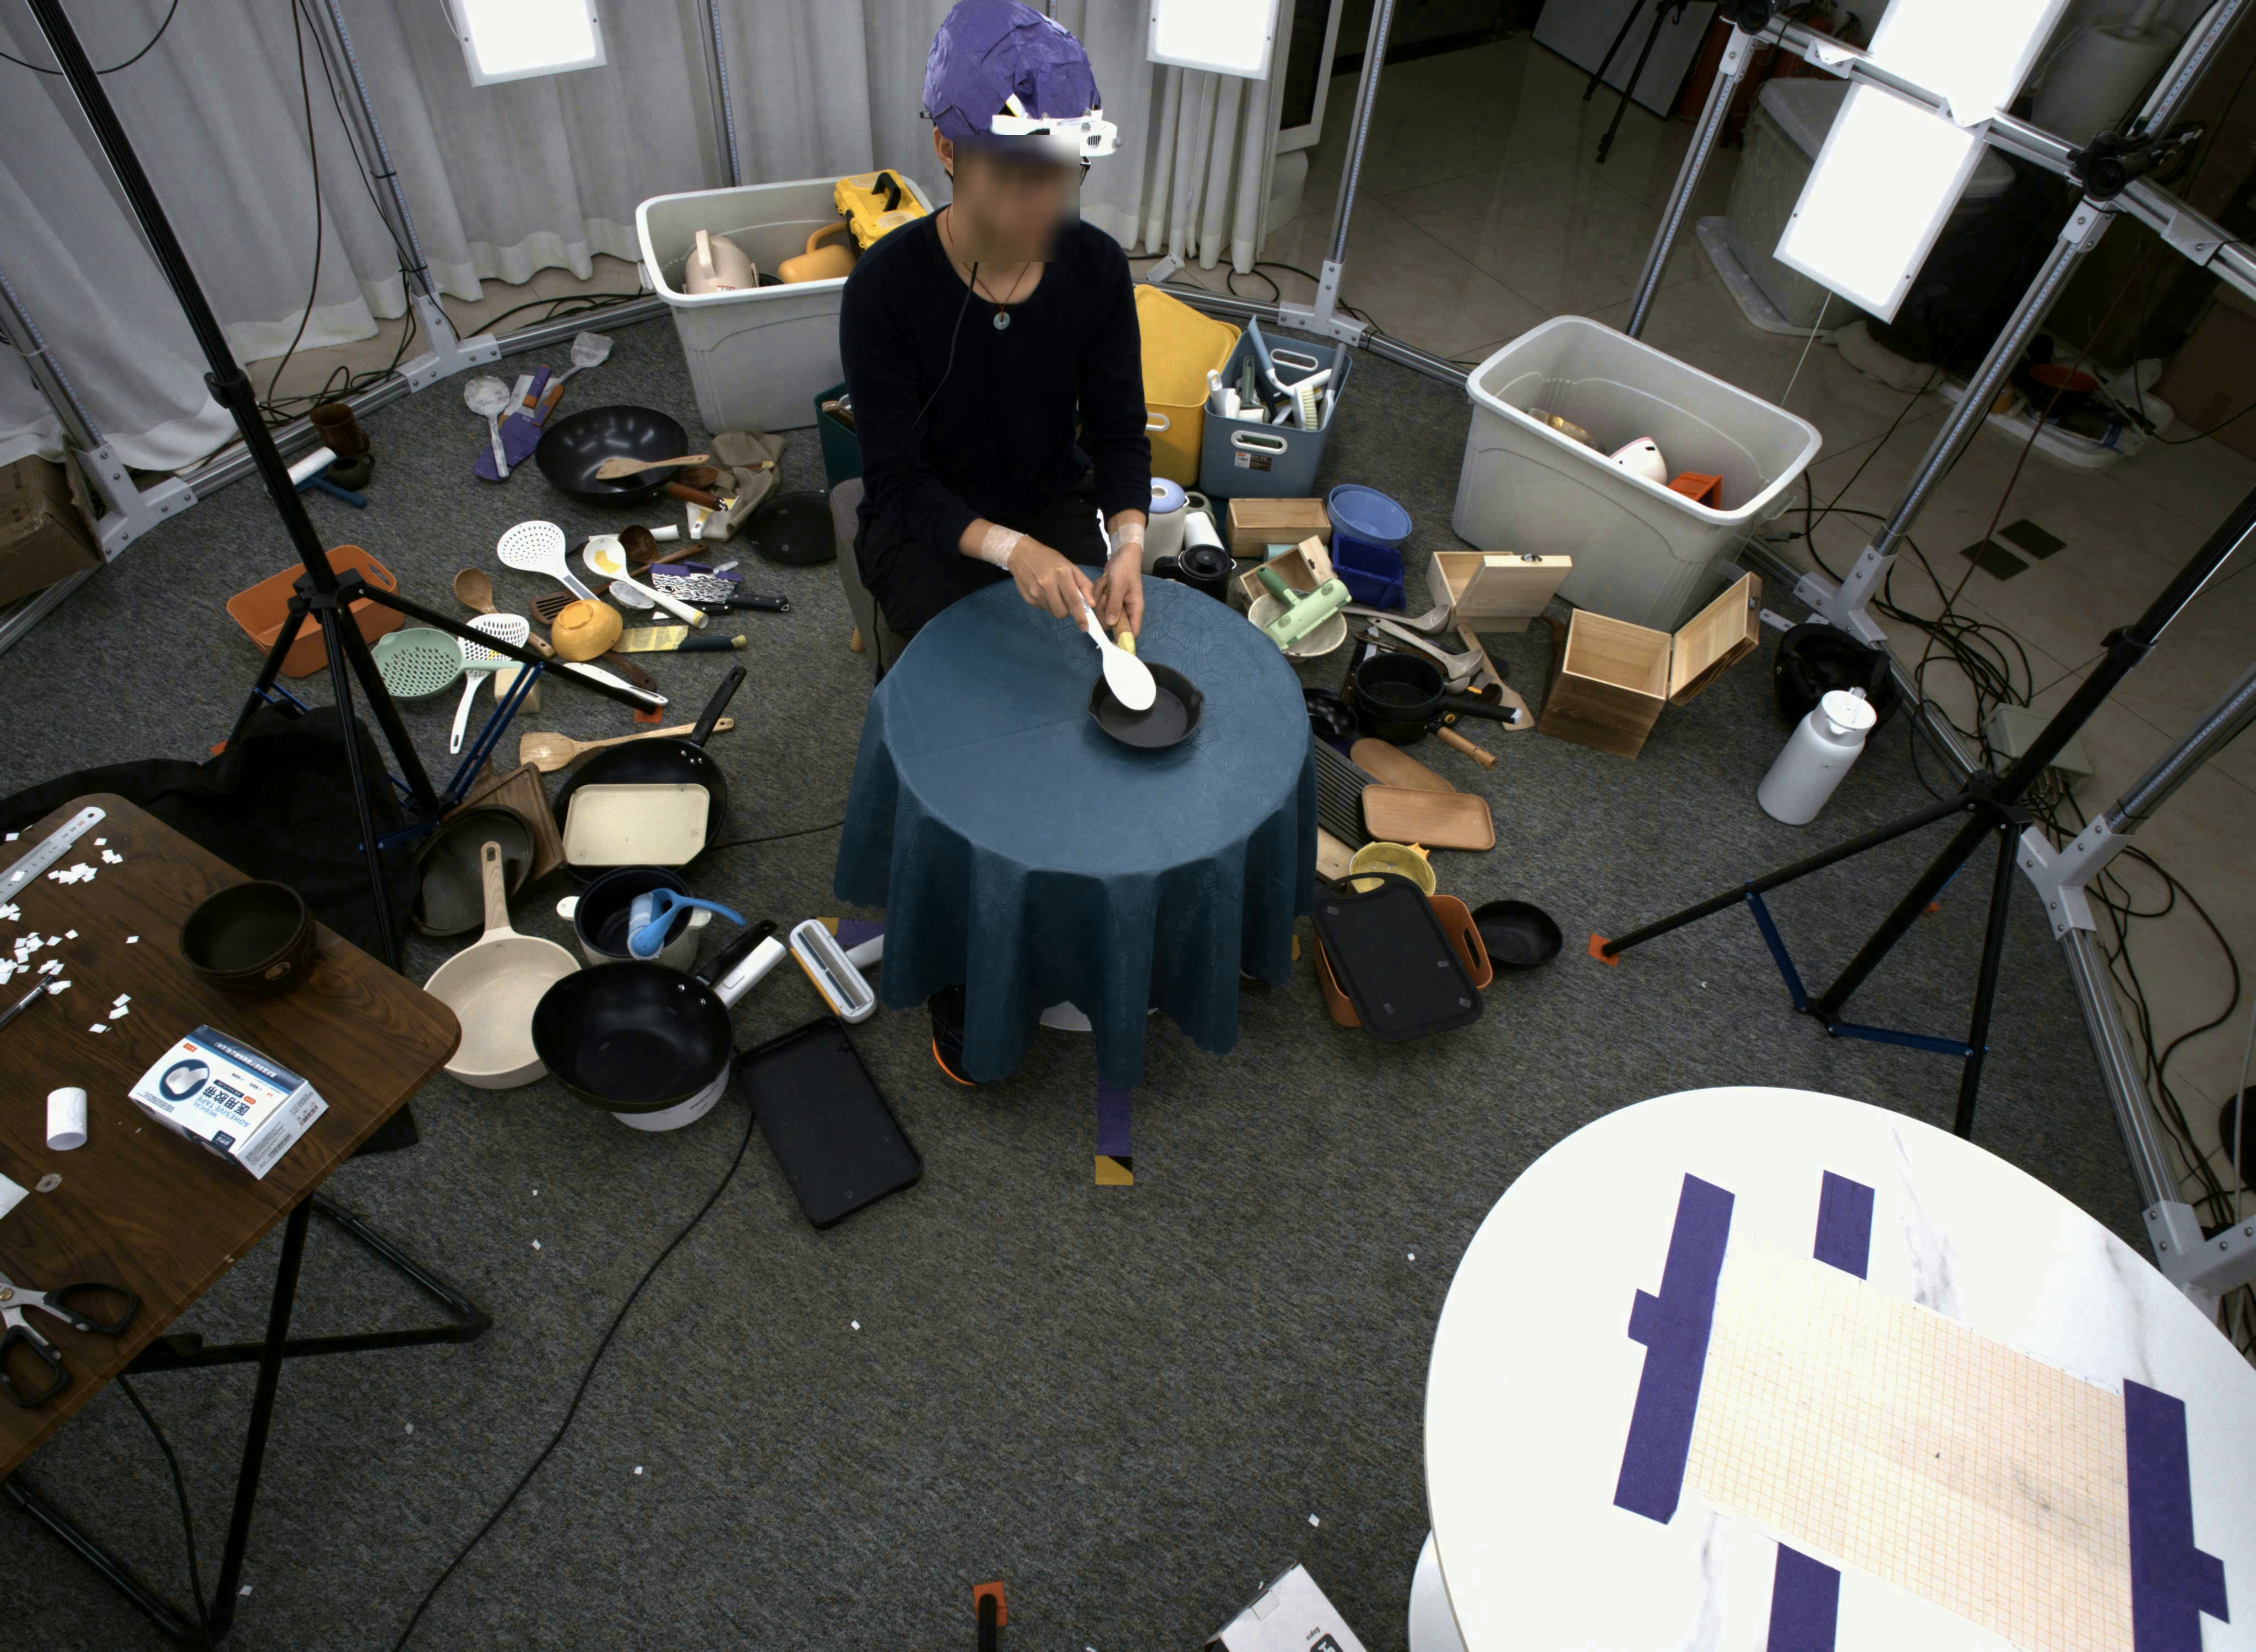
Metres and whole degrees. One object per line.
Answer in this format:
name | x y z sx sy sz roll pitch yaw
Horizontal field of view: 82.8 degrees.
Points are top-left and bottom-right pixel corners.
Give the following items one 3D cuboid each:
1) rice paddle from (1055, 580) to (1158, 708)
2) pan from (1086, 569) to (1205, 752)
rice paddle | -0.028 -0.251 1.783 0.069 0.029 0.205 -37 90 -29
pan | 0.007 -0.236 1.824 0.168 0.048 0.332 -6 55 -12
